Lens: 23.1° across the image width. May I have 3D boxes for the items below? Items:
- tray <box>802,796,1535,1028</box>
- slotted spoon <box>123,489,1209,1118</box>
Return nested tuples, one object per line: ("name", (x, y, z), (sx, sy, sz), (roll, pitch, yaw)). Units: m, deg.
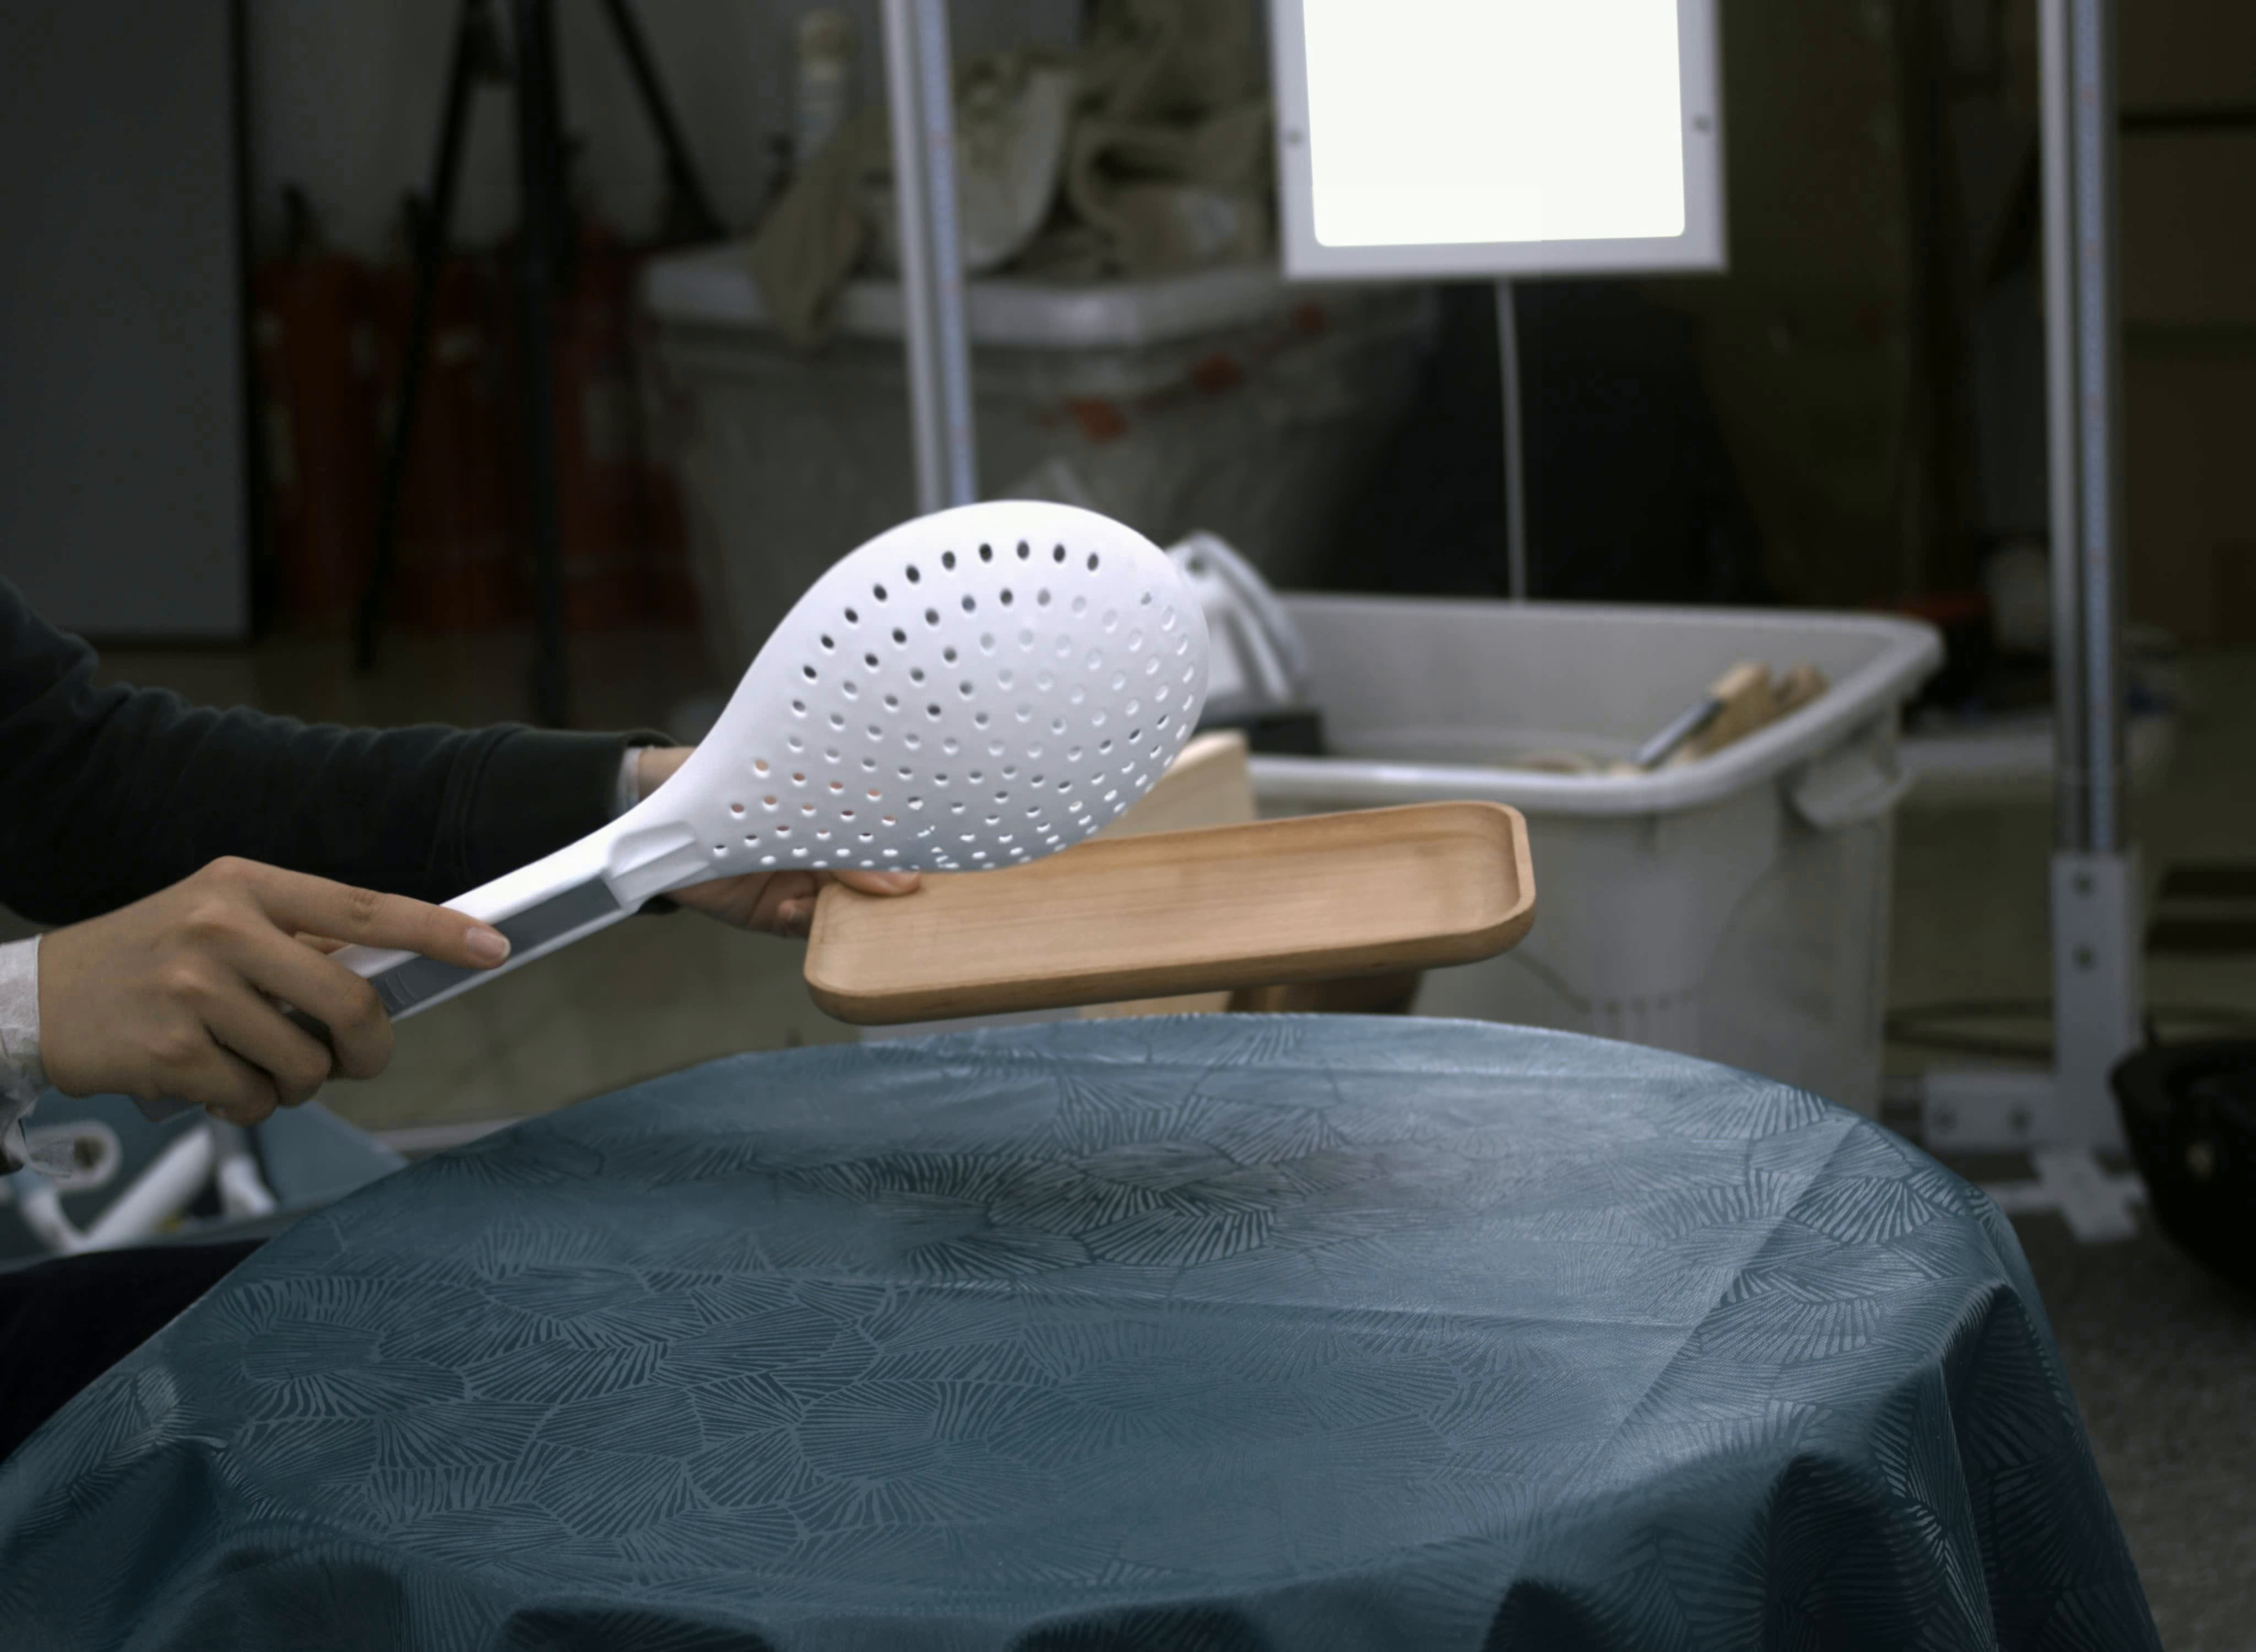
("tray", (0.014, 0.030, 1.891), (0.251, 0.023, 0.130), (-7, 18, 6))
("slotted spoon", (-0.138, 0.005, 1.629), (0.352, 0.135, 0.046), (-21, 42, 12))
